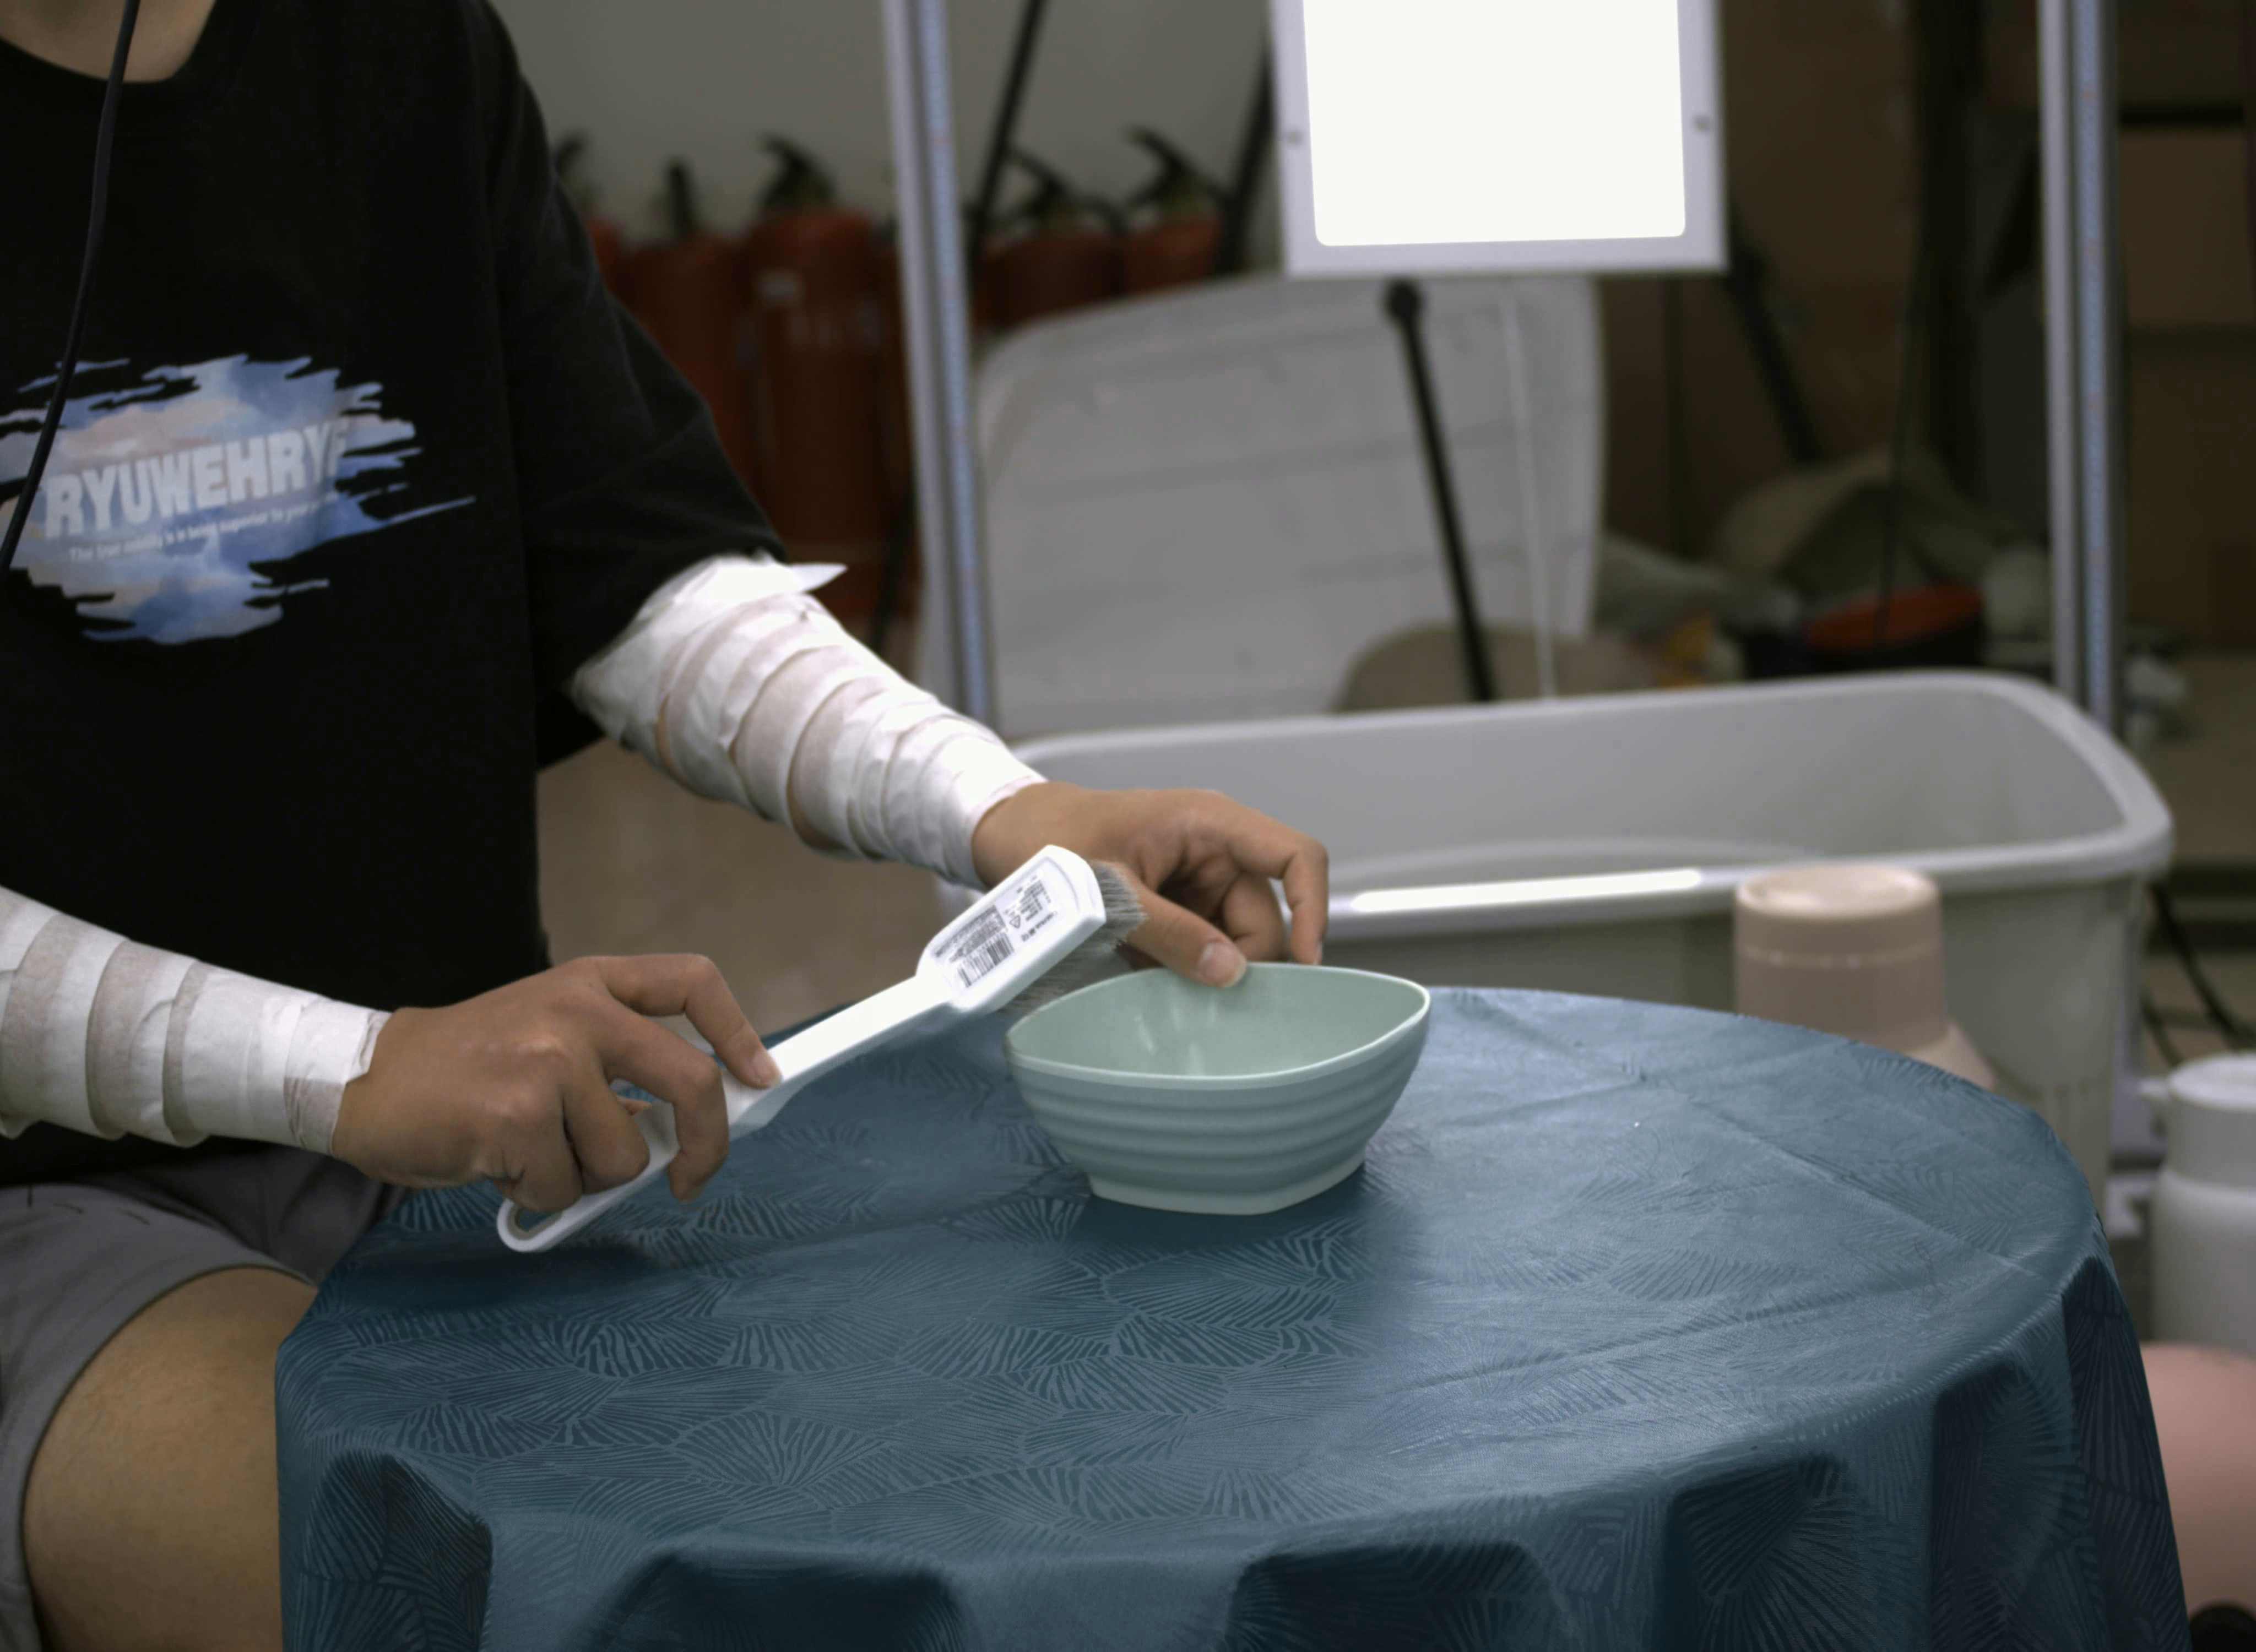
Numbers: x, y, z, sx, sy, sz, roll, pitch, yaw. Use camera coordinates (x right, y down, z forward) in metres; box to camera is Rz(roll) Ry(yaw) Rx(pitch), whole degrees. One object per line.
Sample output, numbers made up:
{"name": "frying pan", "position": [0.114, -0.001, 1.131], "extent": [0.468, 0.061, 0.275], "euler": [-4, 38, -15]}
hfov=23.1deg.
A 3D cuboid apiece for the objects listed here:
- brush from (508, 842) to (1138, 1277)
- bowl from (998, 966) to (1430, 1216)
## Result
{"name": "brush", "position": [-0.103, 0.084, 1.879], "extent": [0.244, 0.034, 0.050], "euler": [-35, -22, 4]}
{"name": "bowl", "position": [0.032, 0.094, 1.900], "extent": [0.151, 0.059, 0.151], "euler": [-4, 13, -1]}
